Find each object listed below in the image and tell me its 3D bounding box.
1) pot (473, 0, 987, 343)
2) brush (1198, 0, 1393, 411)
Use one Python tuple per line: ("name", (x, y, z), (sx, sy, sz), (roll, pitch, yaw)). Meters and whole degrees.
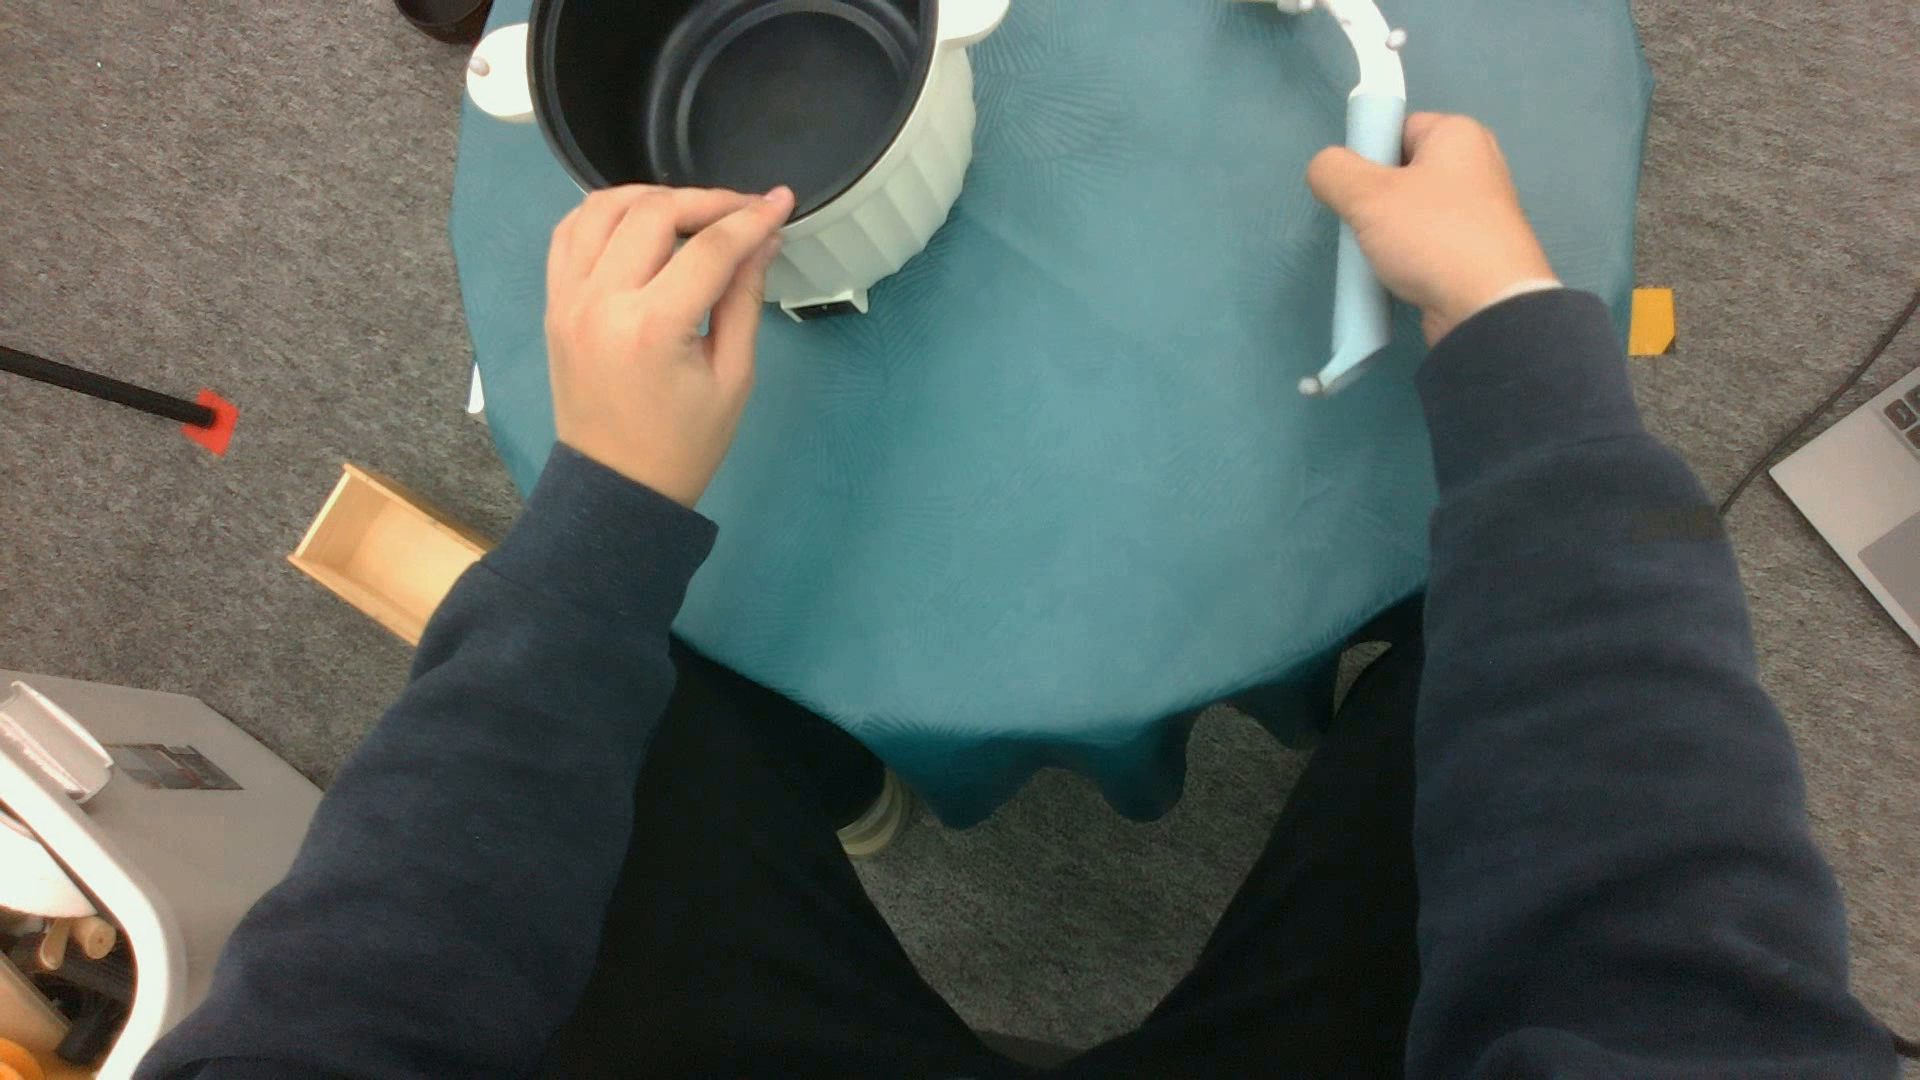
("pot", (-0.093, -0.201, 0.660), (0.240, 0.142, 0.190), (-10, 84, 10))
("brush", (0.138, -0.213, 0.629), (0.084, 0.083, 0.326), (-17, 65, 51))
